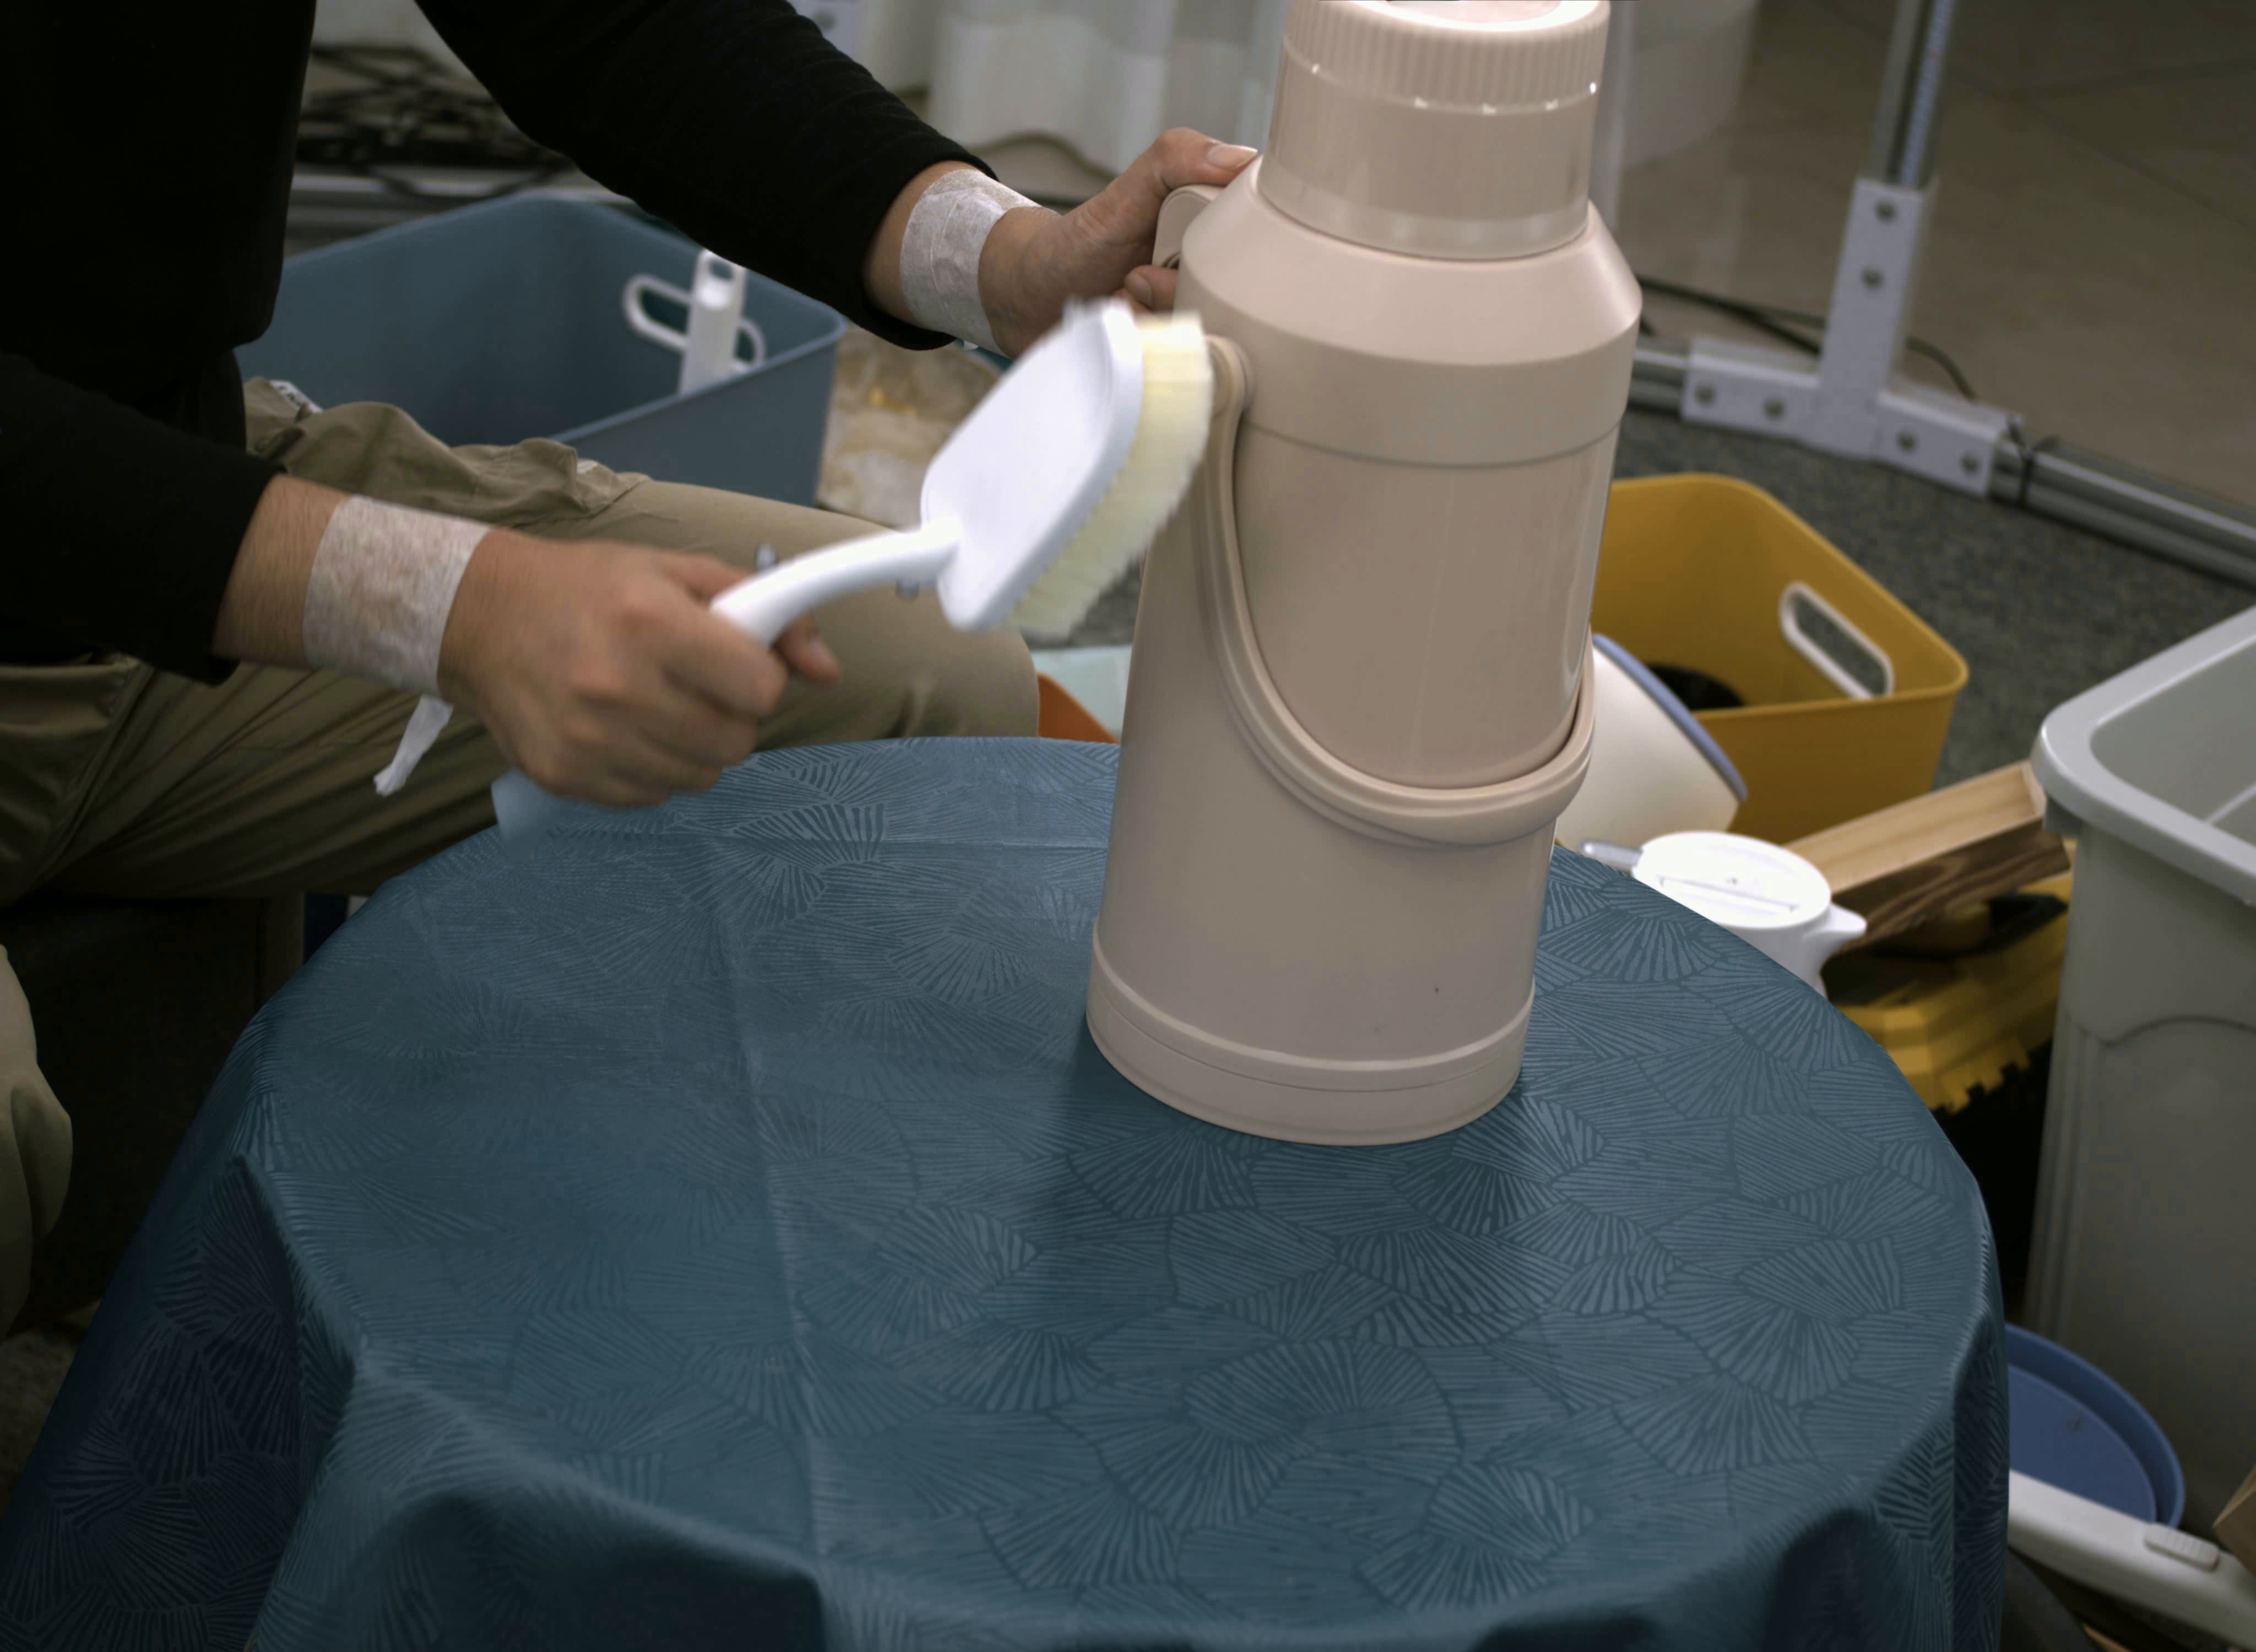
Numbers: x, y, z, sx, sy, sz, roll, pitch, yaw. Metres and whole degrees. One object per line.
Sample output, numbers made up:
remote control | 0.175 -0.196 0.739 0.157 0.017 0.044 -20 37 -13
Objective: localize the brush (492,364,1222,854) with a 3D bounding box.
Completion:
brush | -0.083 -0.063 1.775 0.084 0.325 0.083 50 35 -12

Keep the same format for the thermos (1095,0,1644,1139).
thermos | 0.078 -0.108 1.837 0.174 0.405 0.209 -17 35 -36
